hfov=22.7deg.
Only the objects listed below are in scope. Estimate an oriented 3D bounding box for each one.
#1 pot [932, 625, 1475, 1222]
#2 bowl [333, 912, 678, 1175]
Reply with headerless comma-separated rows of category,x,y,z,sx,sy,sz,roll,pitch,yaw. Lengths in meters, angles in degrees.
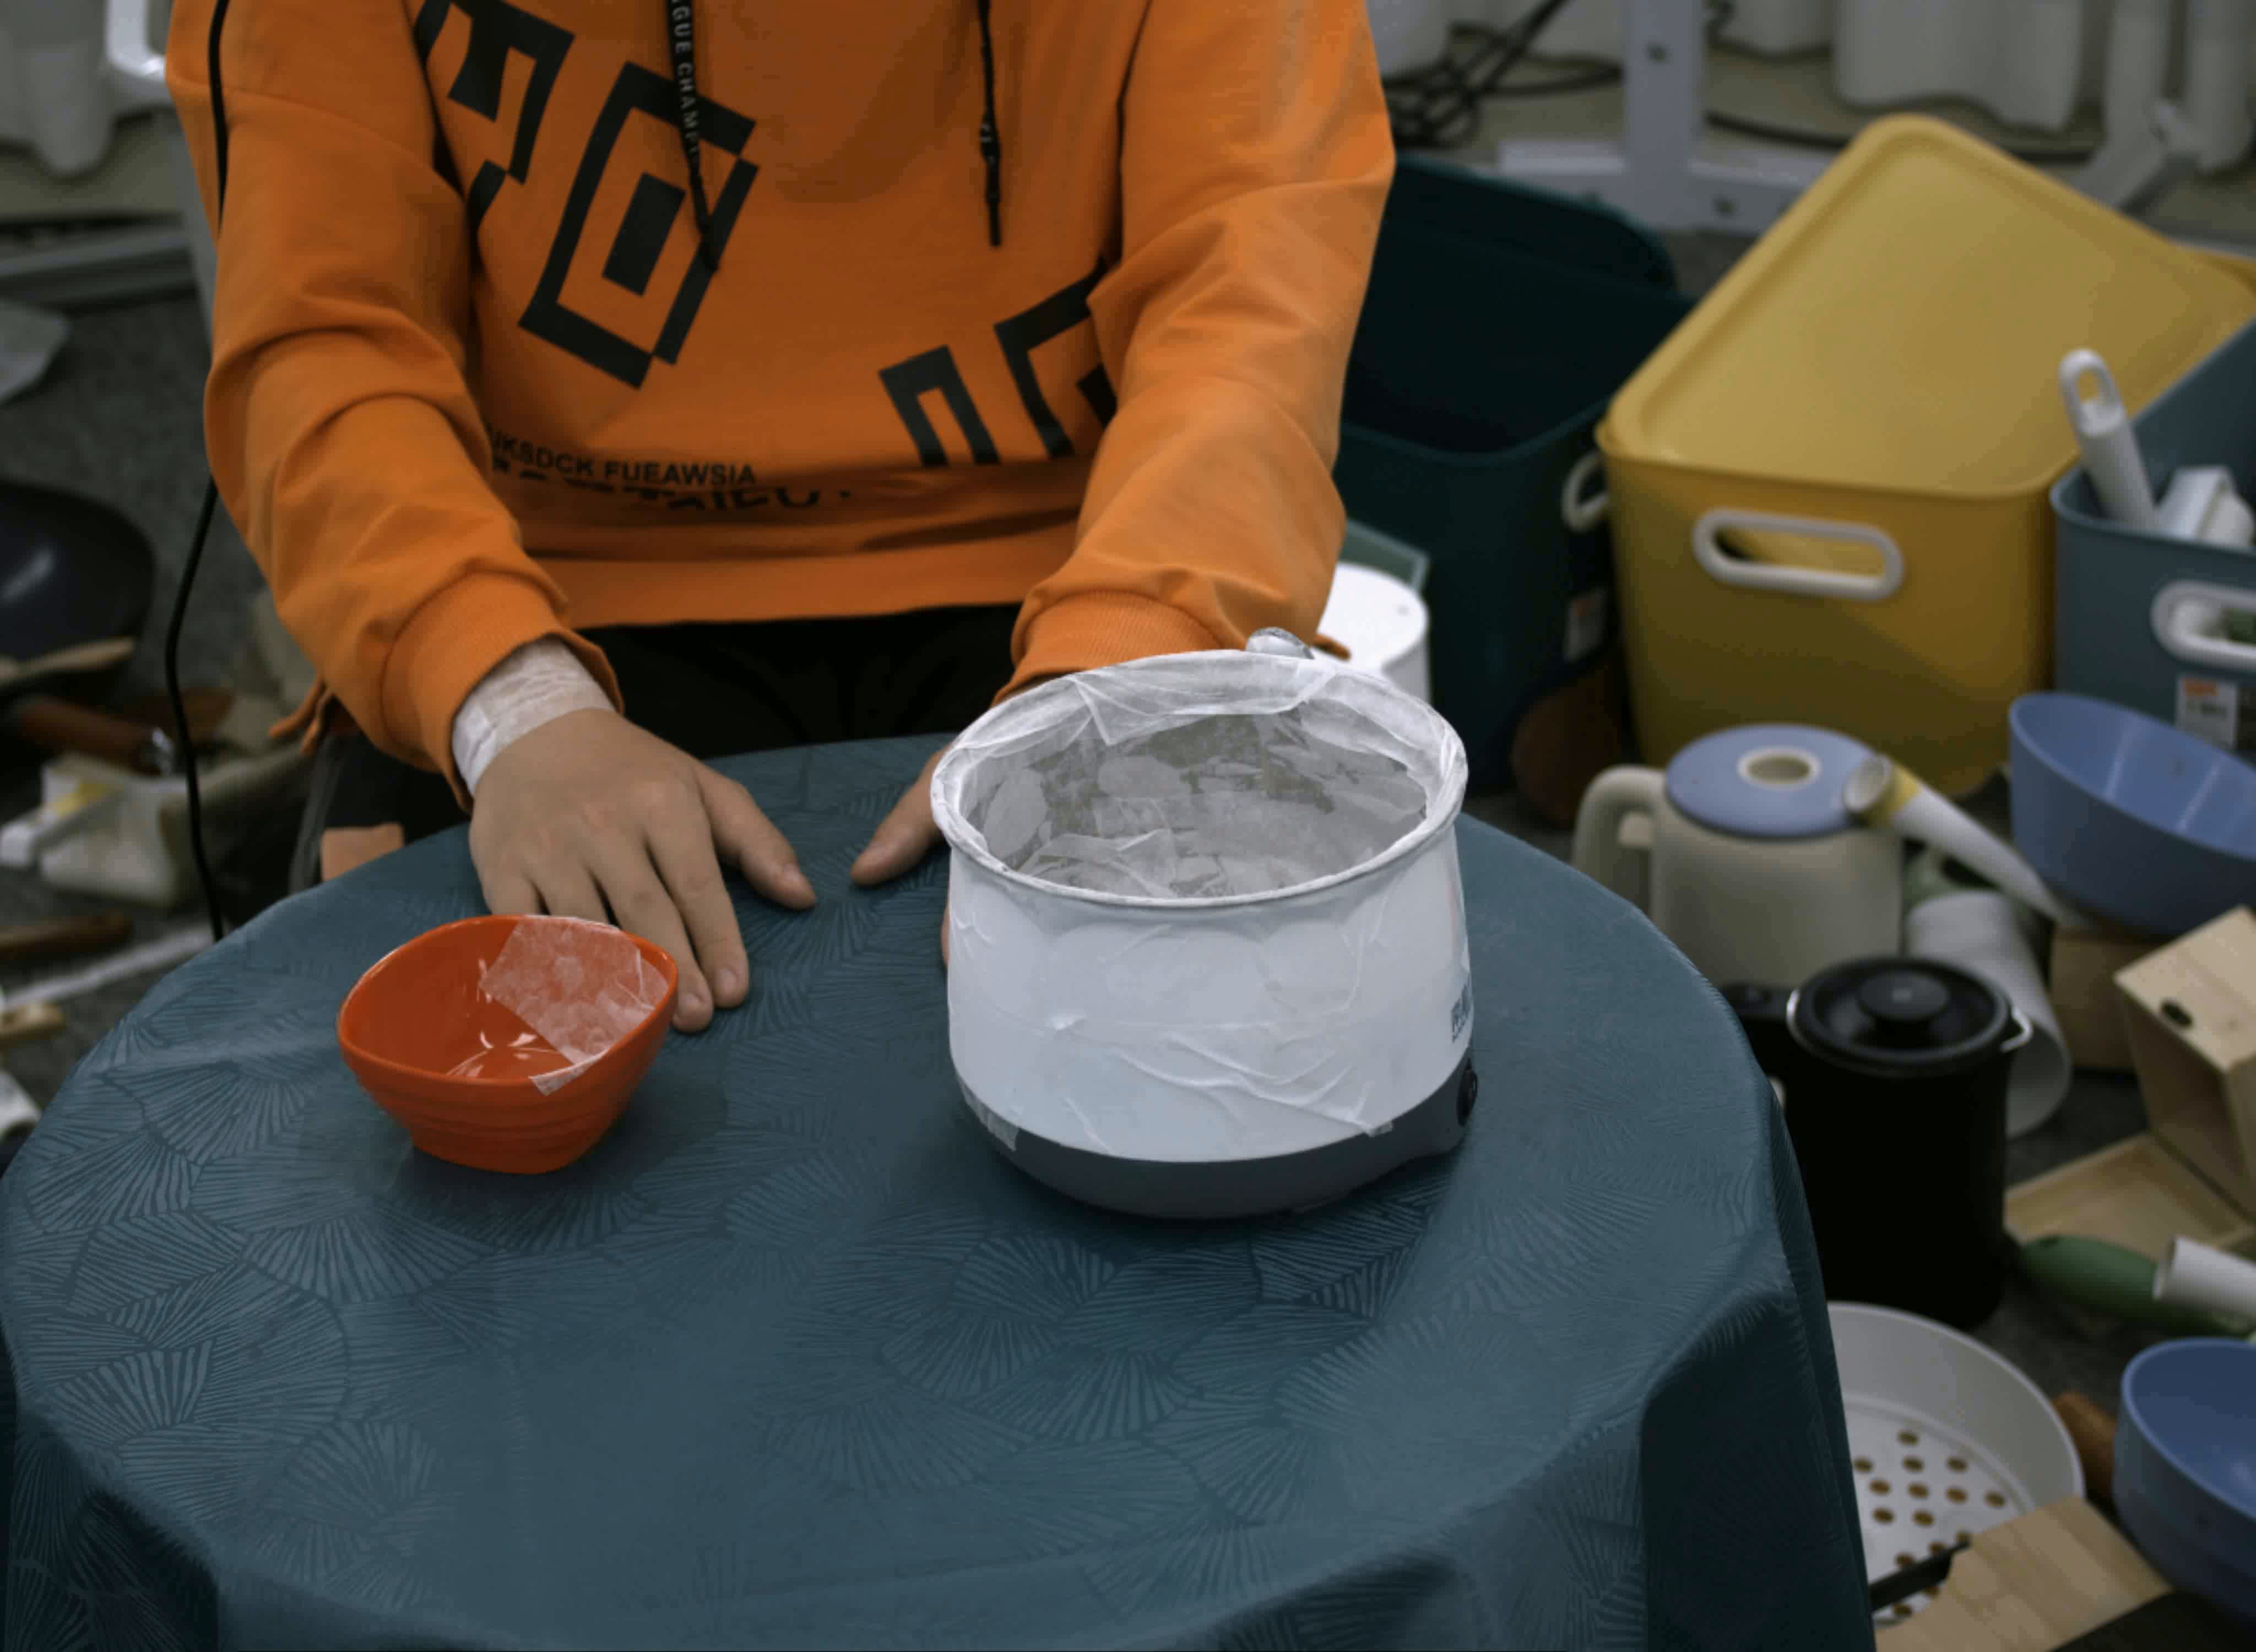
pot,0.033,0.025,1.897,0.177,0.135,0.238,4,28,13
bowl,-0.208,0.079,1.910,0.118,0.051,0.121,-3,28,2
